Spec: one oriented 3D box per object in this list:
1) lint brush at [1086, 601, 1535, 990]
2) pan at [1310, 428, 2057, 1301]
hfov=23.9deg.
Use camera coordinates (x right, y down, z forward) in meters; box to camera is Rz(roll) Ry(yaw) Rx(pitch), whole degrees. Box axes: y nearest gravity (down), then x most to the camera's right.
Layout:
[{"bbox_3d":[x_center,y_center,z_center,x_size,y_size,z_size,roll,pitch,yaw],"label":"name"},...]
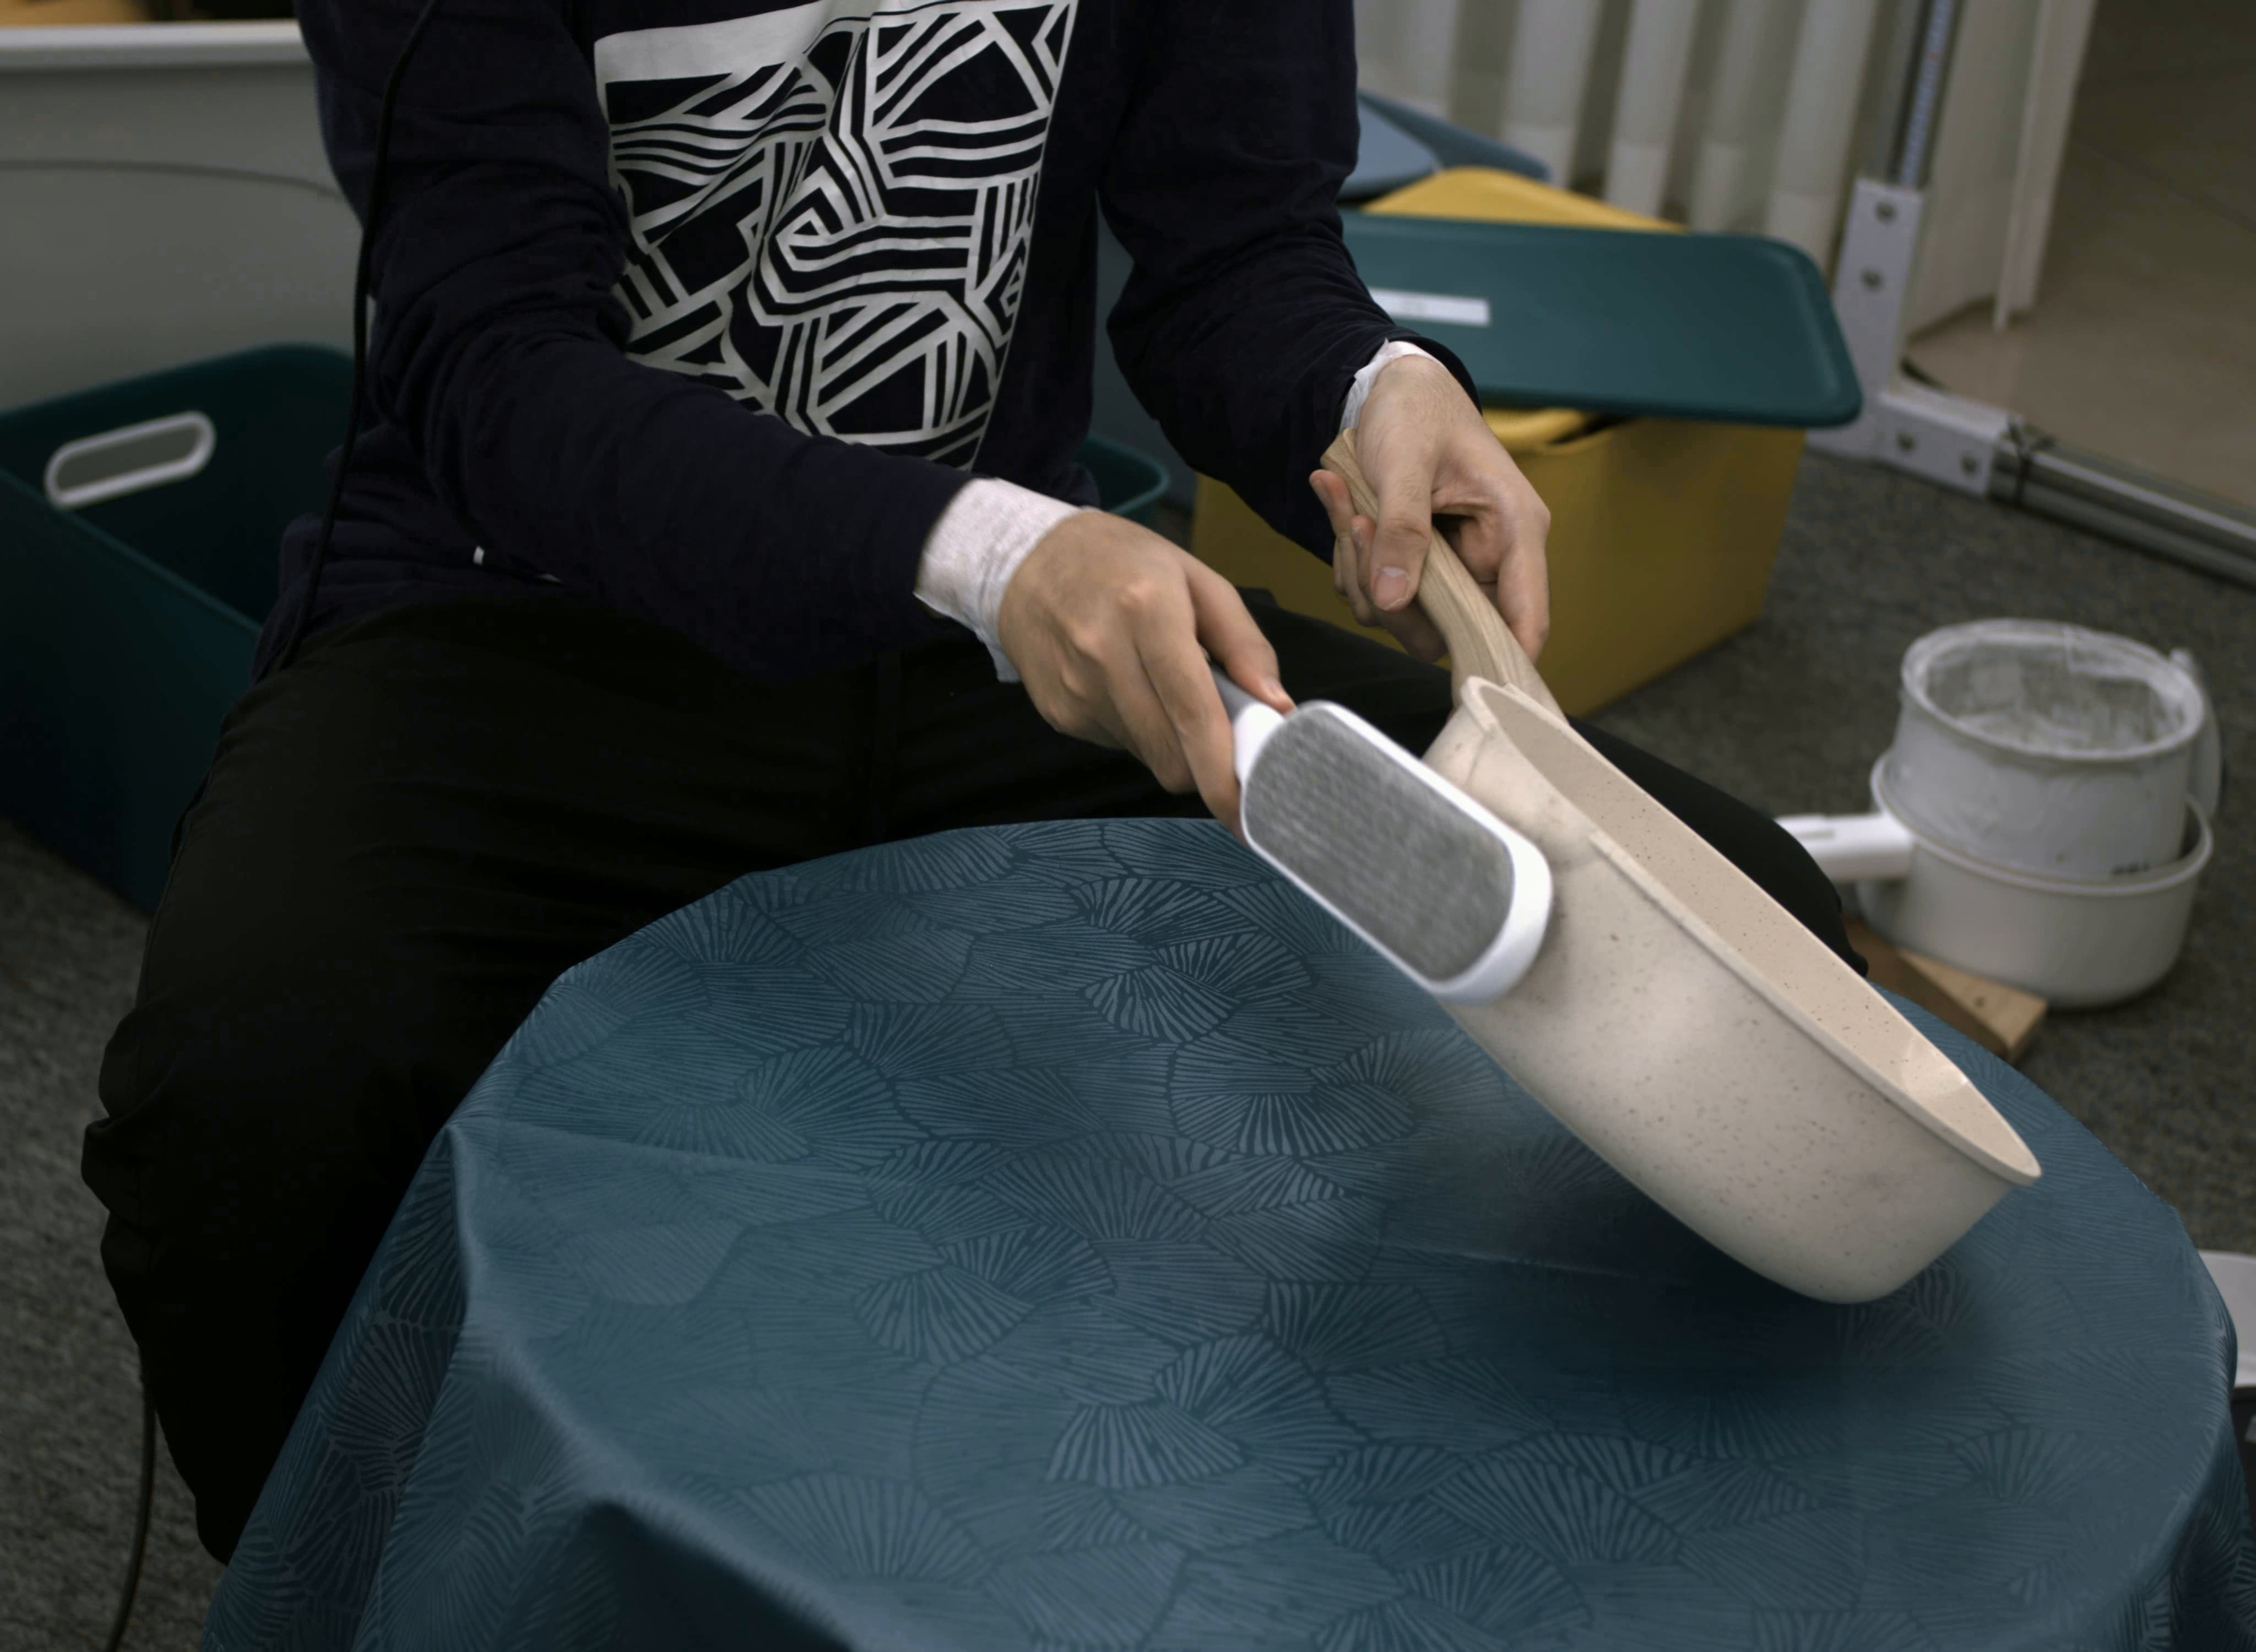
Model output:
[{"bbox_3d":[0.055,-0.020,1.768,0.021,0.060,0.311,21,10,-30],"label":"lint brush"},{"bbox_3d":[0.149,0.008,1.840,0.261,0.102,0.439,28,15,-41],"label":"pan"}]
